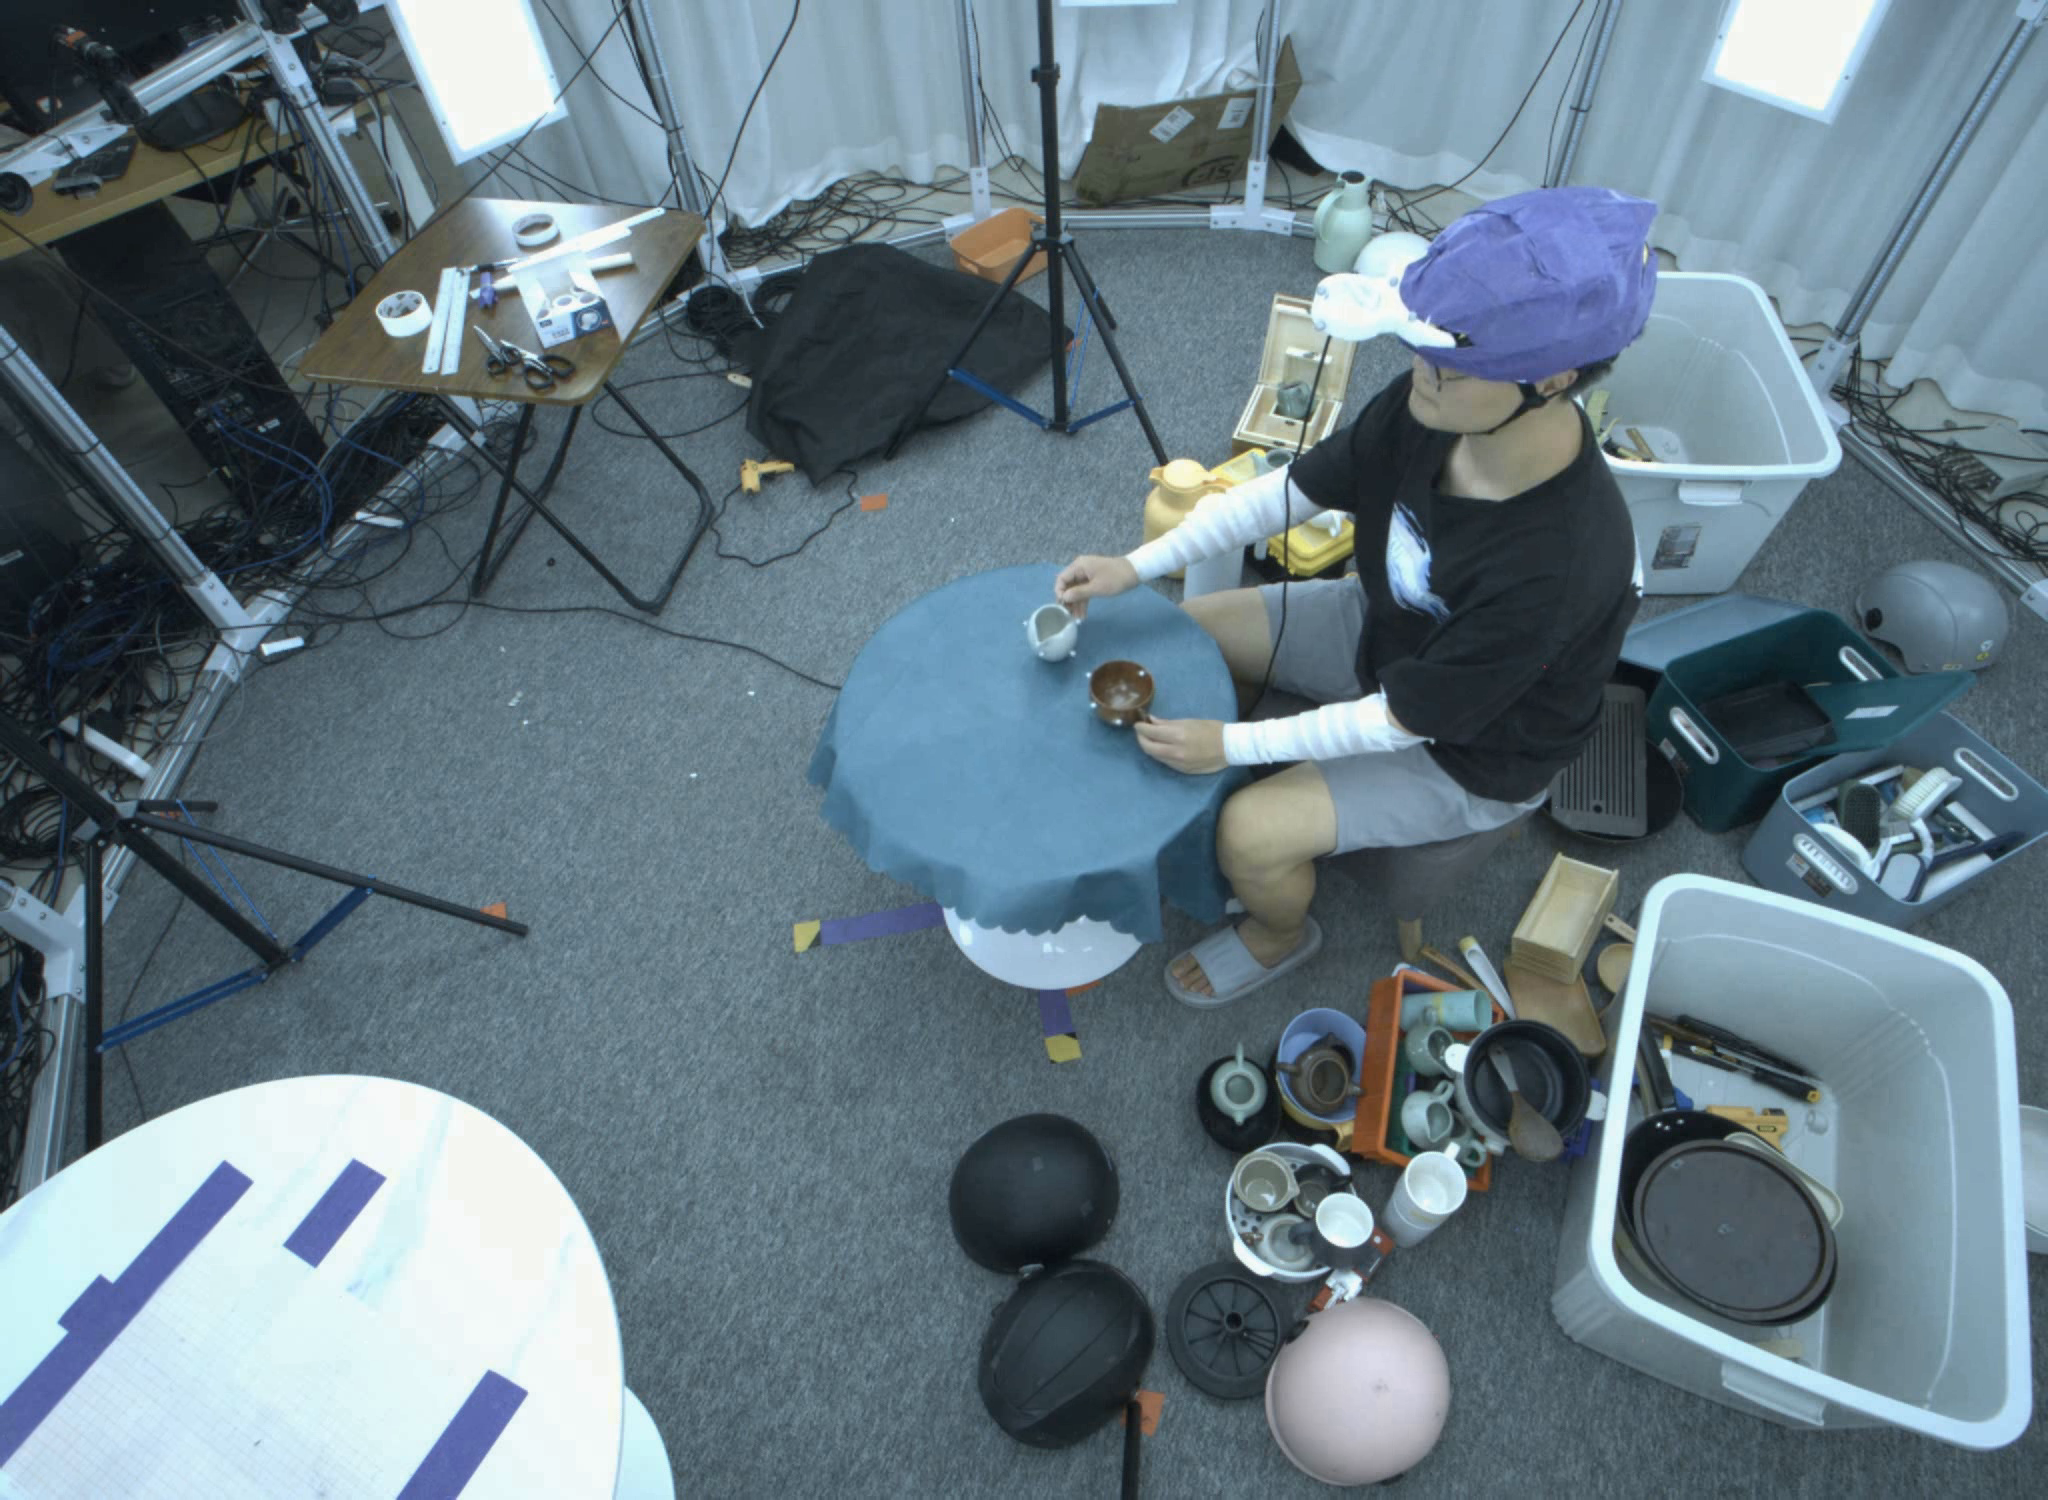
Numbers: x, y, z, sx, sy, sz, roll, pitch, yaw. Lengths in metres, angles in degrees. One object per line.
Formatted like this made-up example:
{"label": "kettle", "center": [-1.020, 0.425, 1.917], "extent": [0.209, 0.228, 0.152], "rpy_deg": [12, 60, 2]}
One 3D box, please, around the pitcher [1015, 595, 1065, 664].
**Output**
{"label": "pitcher", "center": [0.028, -0.175, 1.844], "extent": [0.075, 0.088, 0.119], "rpy_deg": [27, 73, 11]}

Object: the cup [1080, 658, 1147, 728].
{"label": "cup", "center": [0.134, -0.070, 1.784], "extent": [0.097, 0.068, 0.117], "rpy_deg": [-27, 59, -20]}
